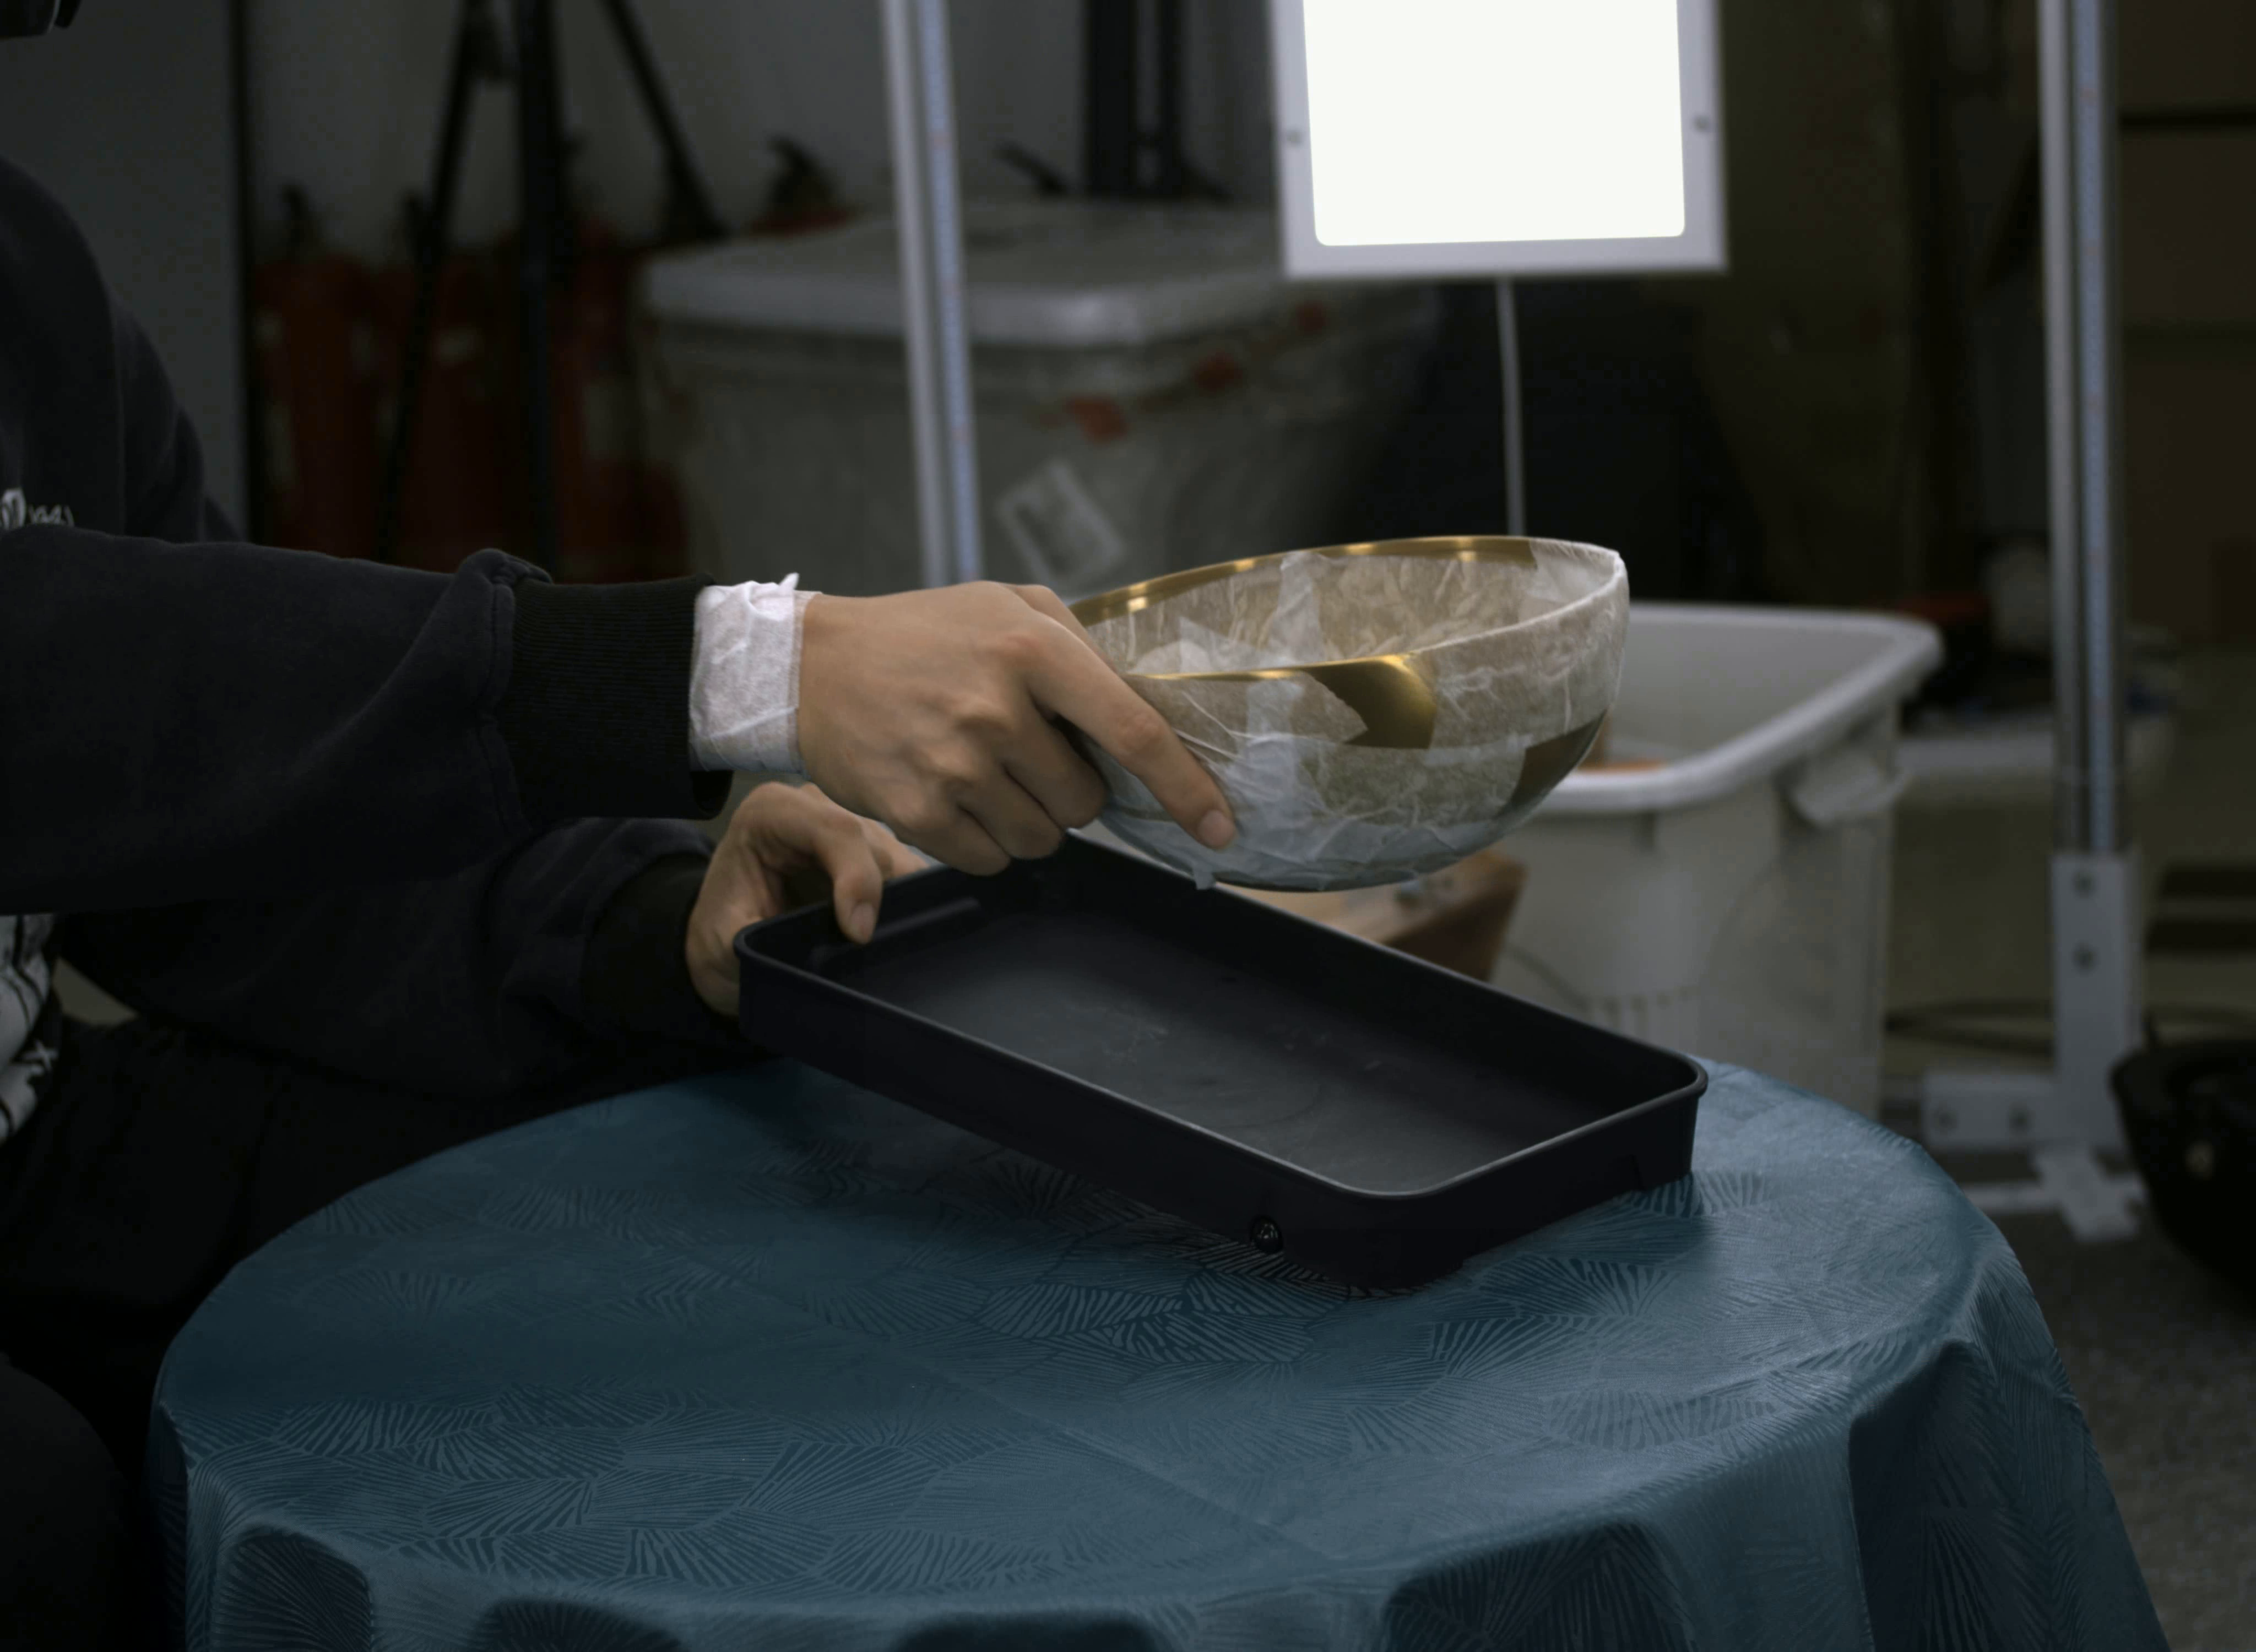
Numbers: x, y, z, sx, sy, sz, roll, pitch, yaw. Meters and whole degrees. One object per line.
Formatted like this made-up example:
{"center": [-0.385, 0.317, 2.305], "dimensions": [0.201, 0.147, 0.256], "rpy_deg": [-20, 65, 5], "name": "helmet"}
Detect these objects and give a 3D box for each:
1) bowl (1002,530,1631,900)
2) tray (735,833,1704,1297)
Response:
{"center": [0.066, -0.030, 1.801], "dimensions": [0.214, 0.095, 0.214], "rpy_deg": [-9, 14, 1], "name": "bowl"}
{"center": [0.028, 0.077, 1.909], "dimensions": [0.179, 0.037, 0.324], "rpy_deg": [-16, 27, -43], "name": "tray"}
